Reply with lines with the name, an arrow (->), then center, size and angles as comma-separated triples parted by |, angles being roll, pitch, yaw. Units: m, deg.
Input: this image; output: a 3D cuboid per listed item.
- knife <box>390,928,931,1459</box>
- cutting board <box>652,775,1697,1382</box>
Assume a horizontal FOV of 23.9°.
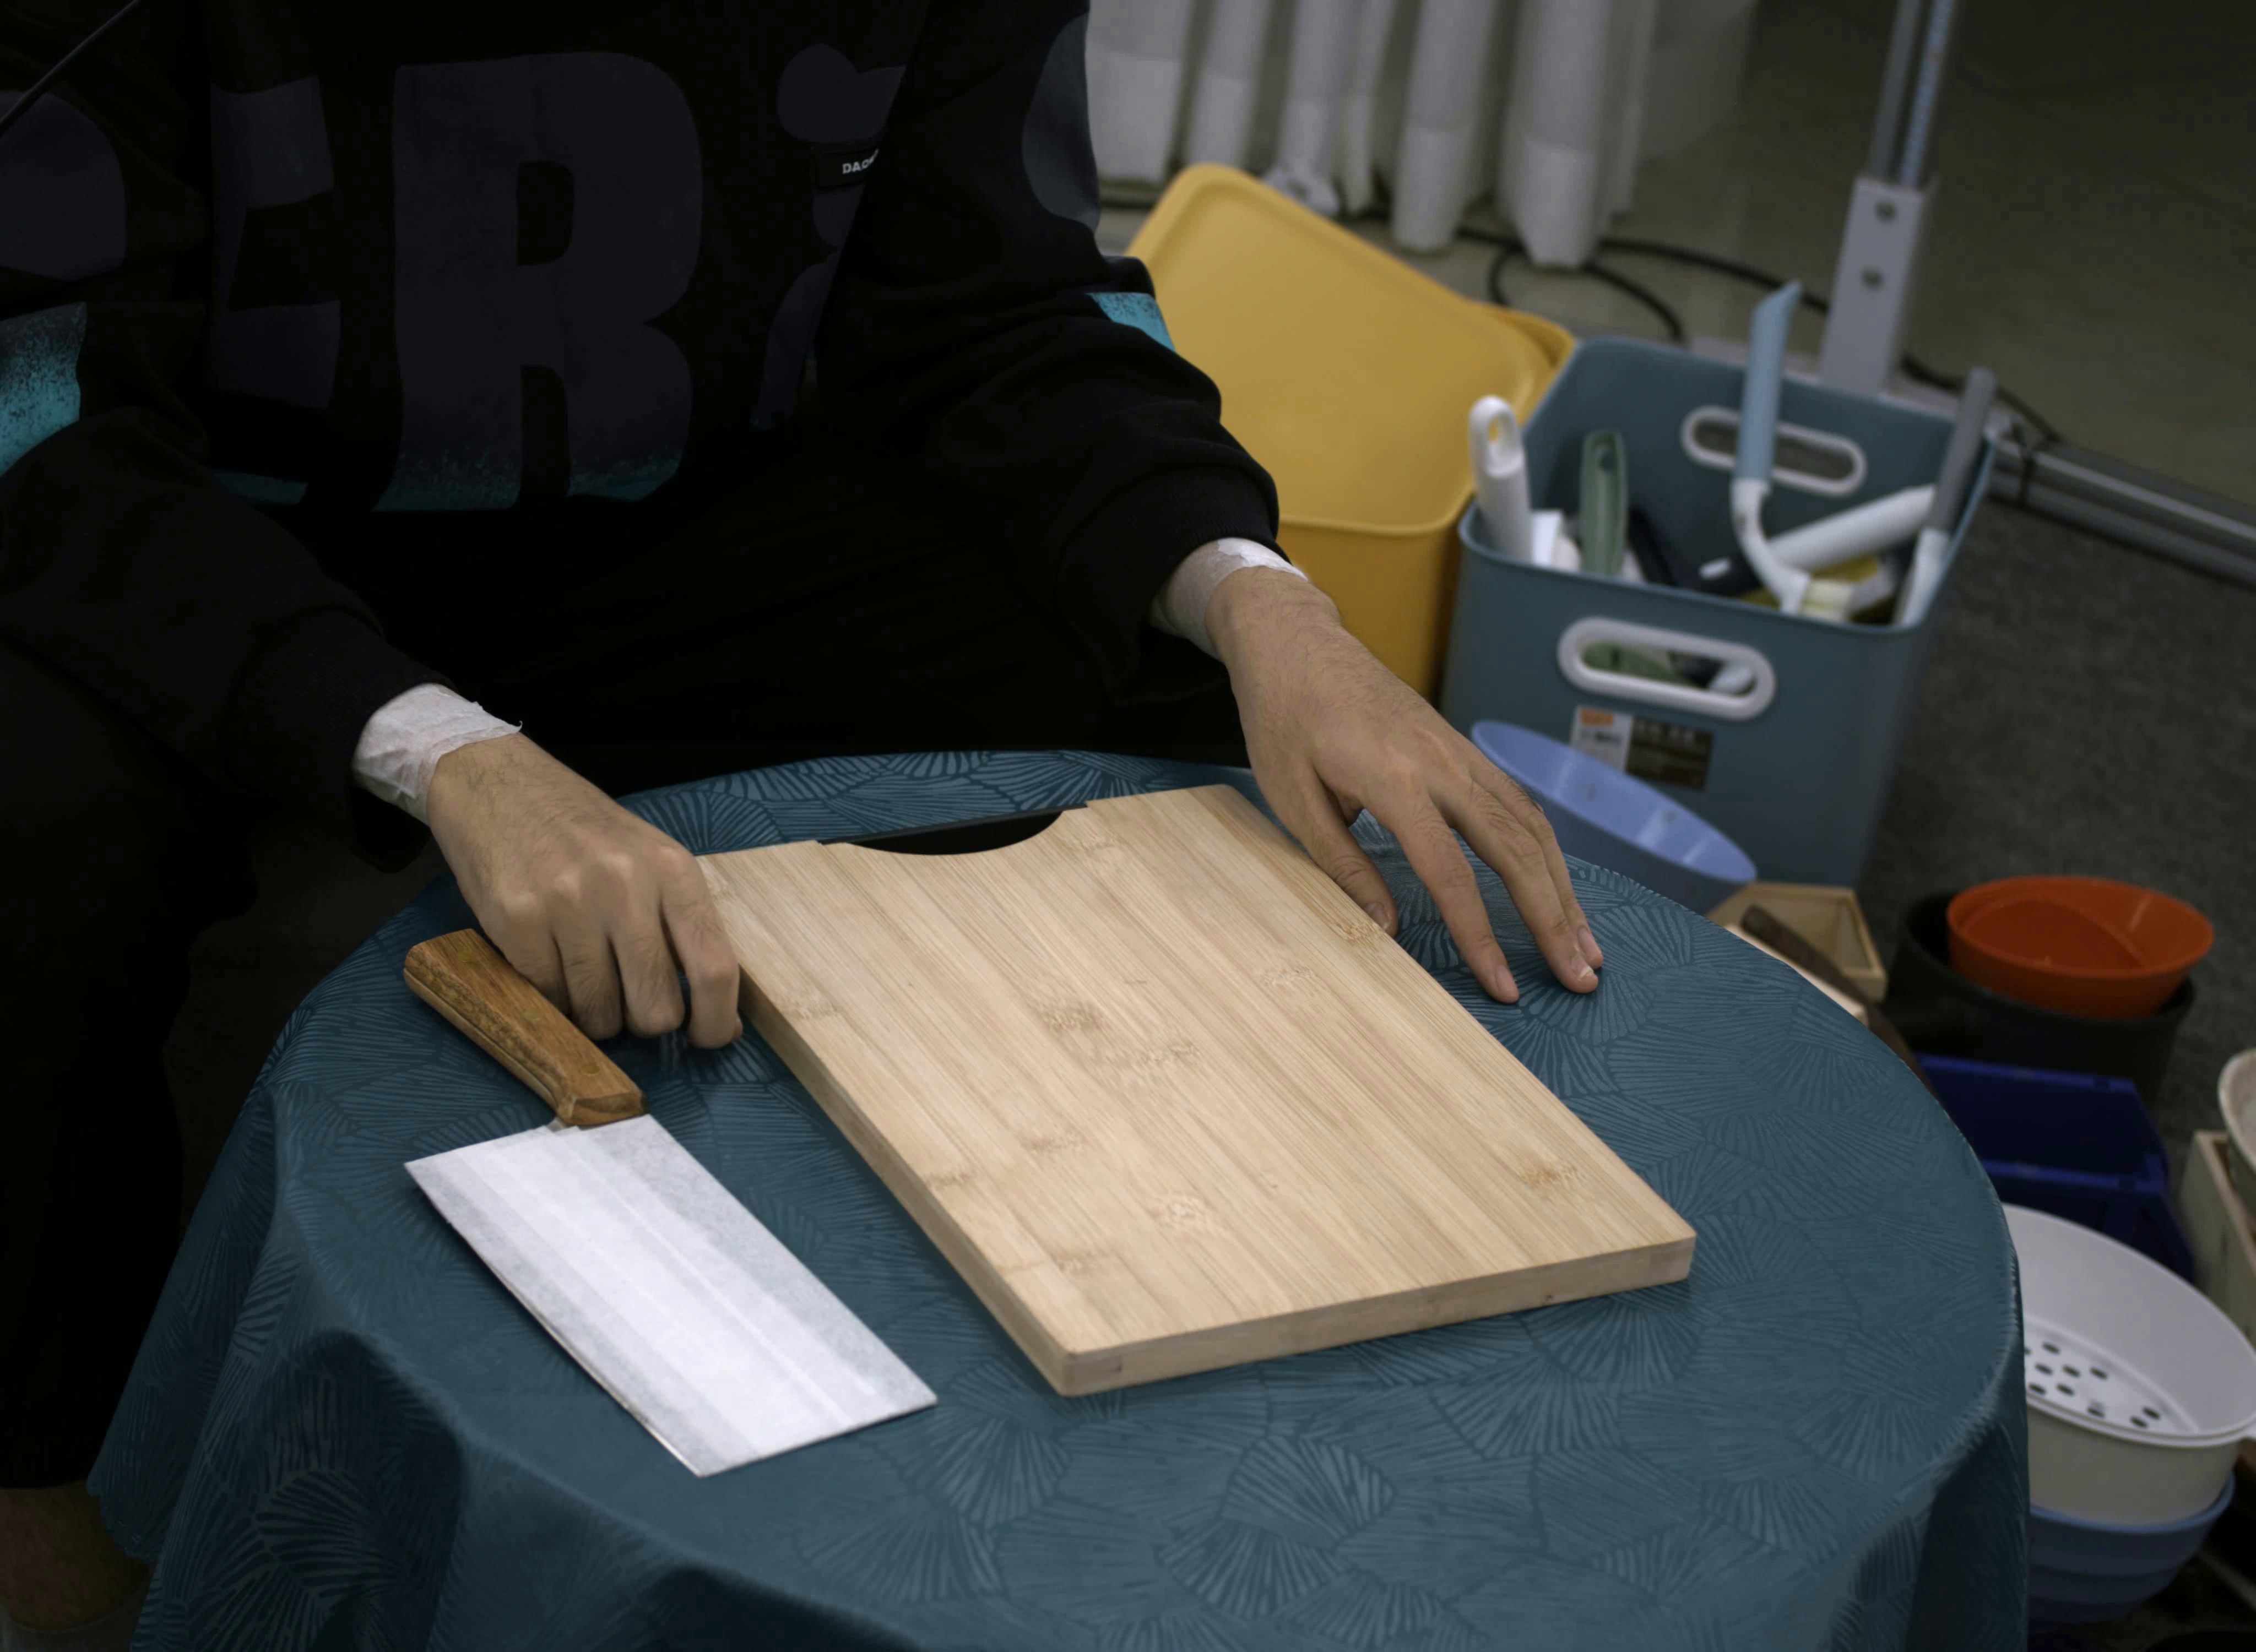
knife -> -0.181, 0.120, 1.754 | 0.092, 0.021, 0.308 | -14, 36, -32
cutting board -> 0.008, 0.081, 1.869 | 0.249, 0.023, 0.352 | -8, 31, -27
